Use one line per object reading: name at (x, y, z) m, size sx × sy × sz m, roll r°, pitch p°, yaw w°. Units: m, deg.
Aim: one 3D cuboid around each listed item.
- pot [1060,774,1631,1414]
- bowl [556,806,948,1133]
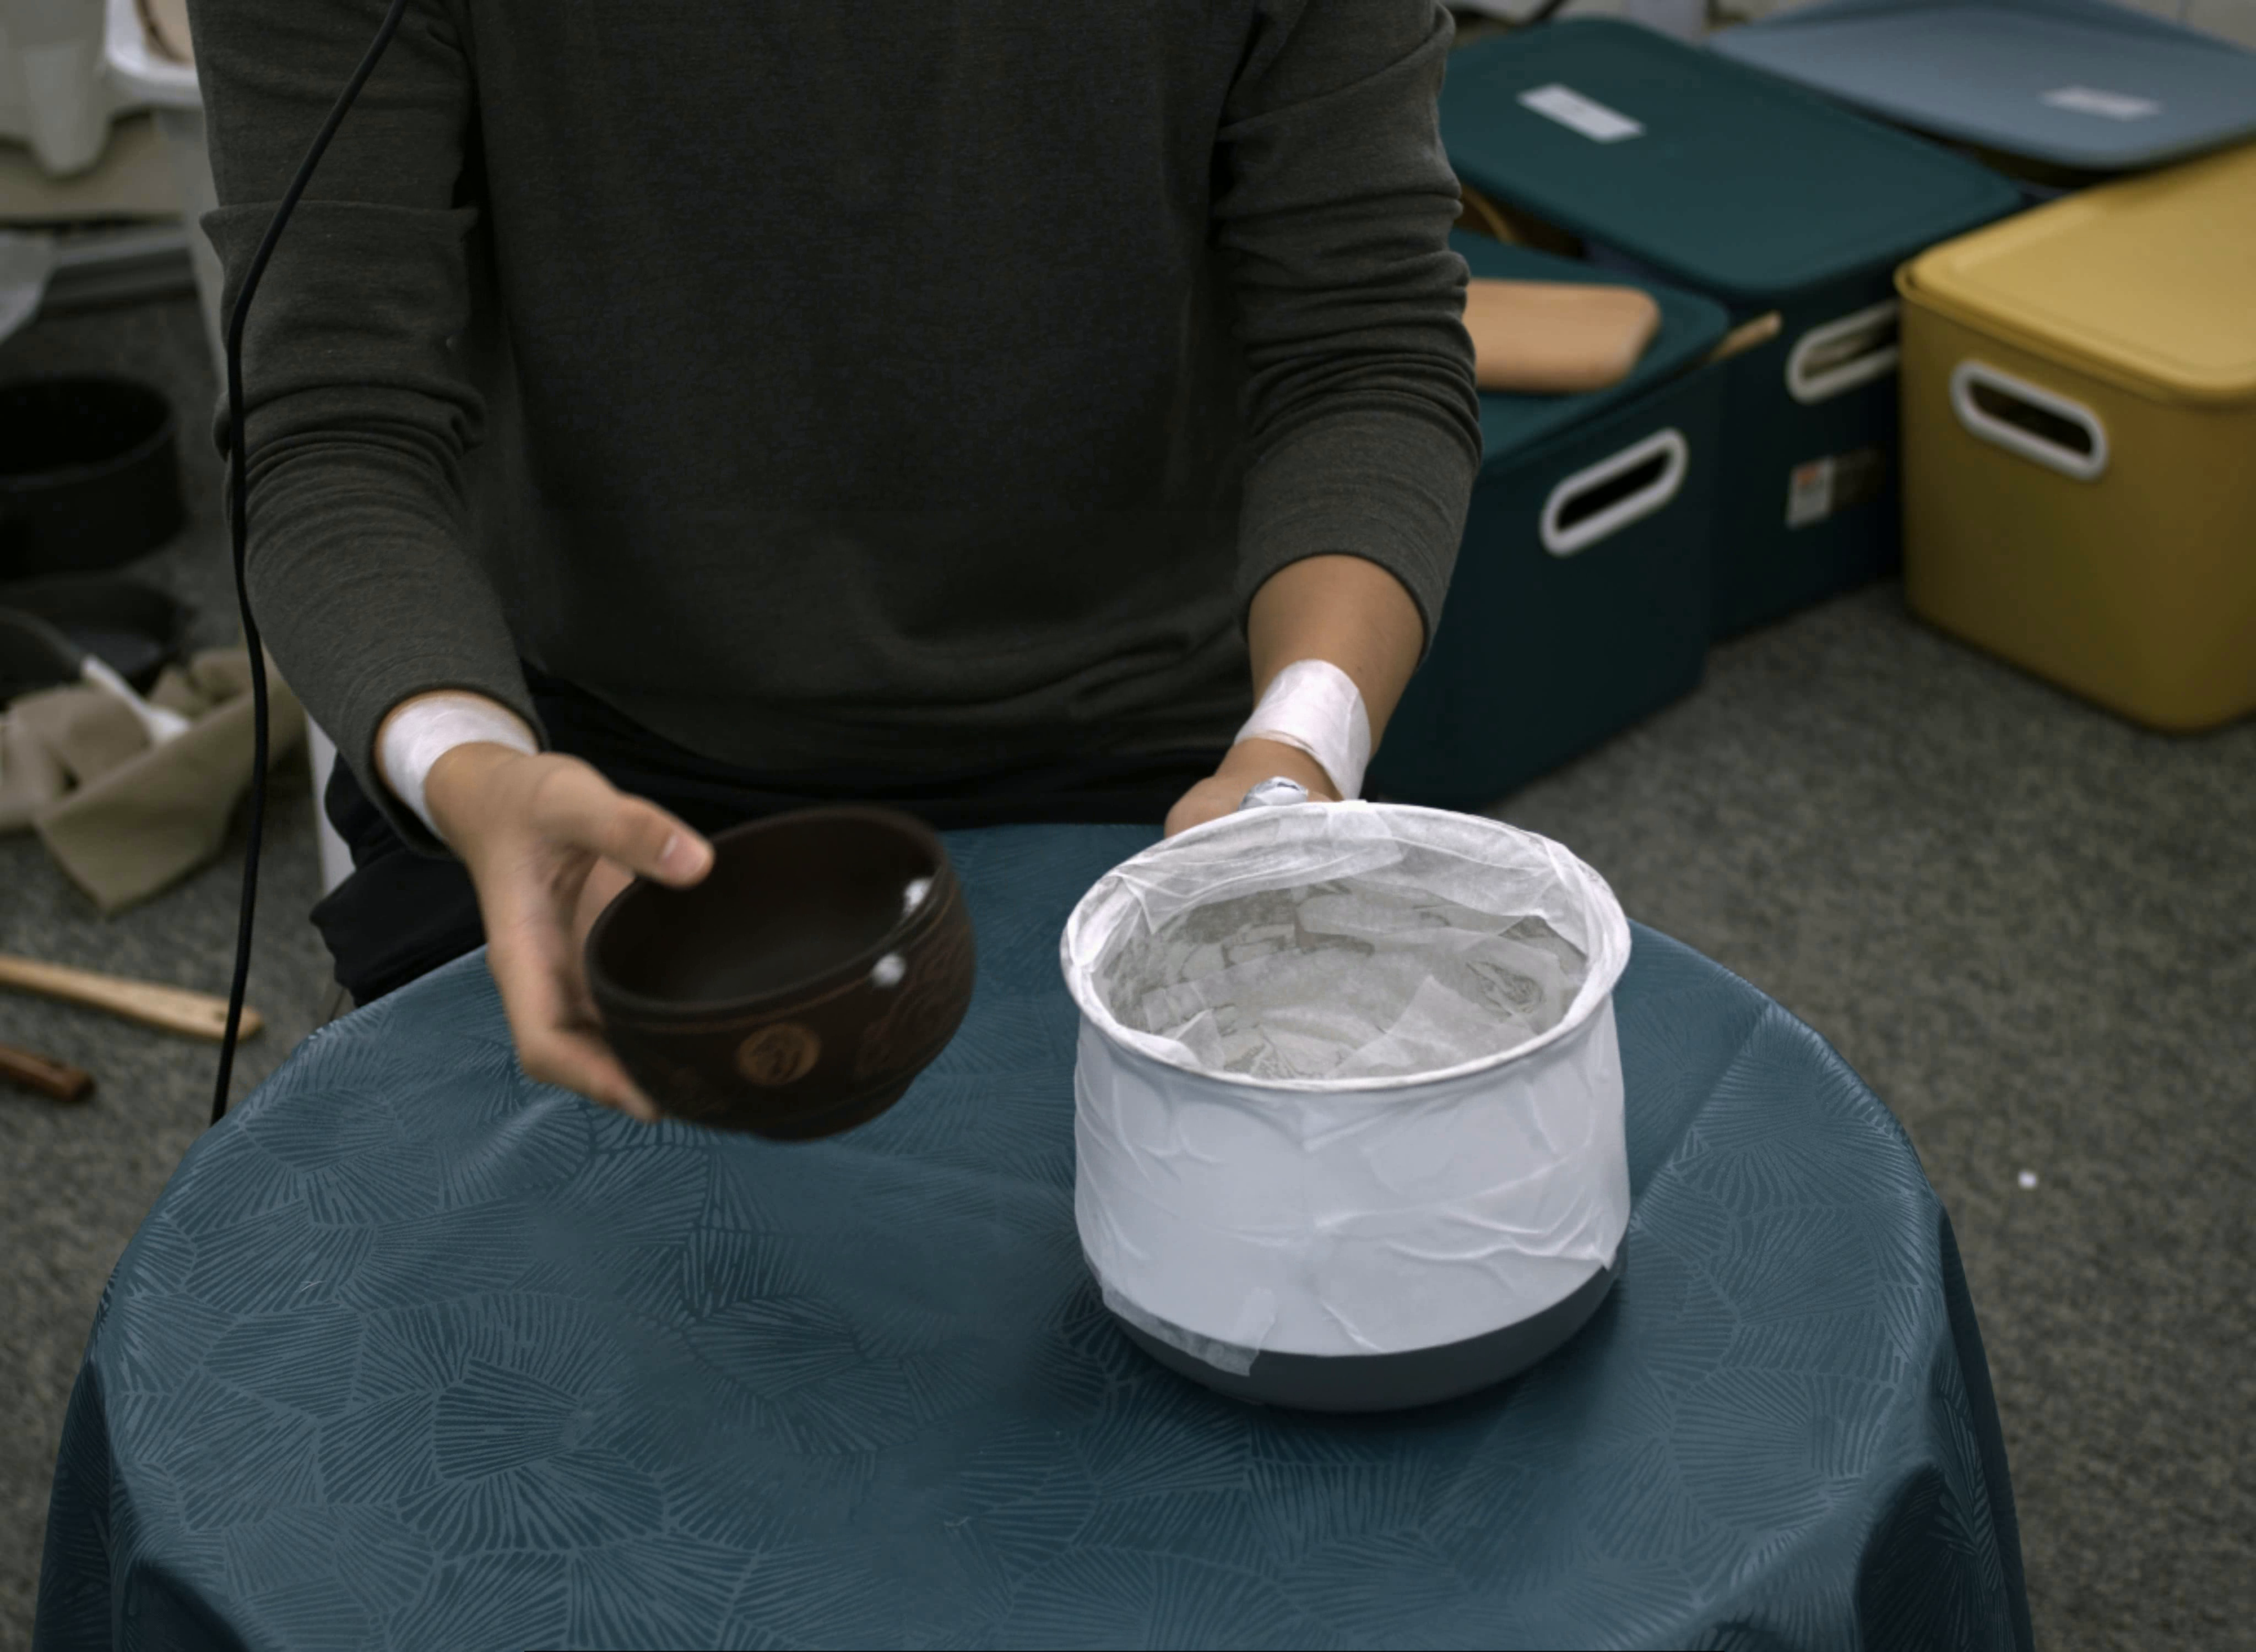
pot at (0.064, 0.077, 1.791) m, size 0.178 × 0.135 × 0.236 m, roll -7°, pitch 28°, yaw -10°
bowl at (-0.109, 0.050, 1.715) m, size 0.117 × 0.069 × 0.119 m, roll -16°, pitch 20°, yaw 6°
